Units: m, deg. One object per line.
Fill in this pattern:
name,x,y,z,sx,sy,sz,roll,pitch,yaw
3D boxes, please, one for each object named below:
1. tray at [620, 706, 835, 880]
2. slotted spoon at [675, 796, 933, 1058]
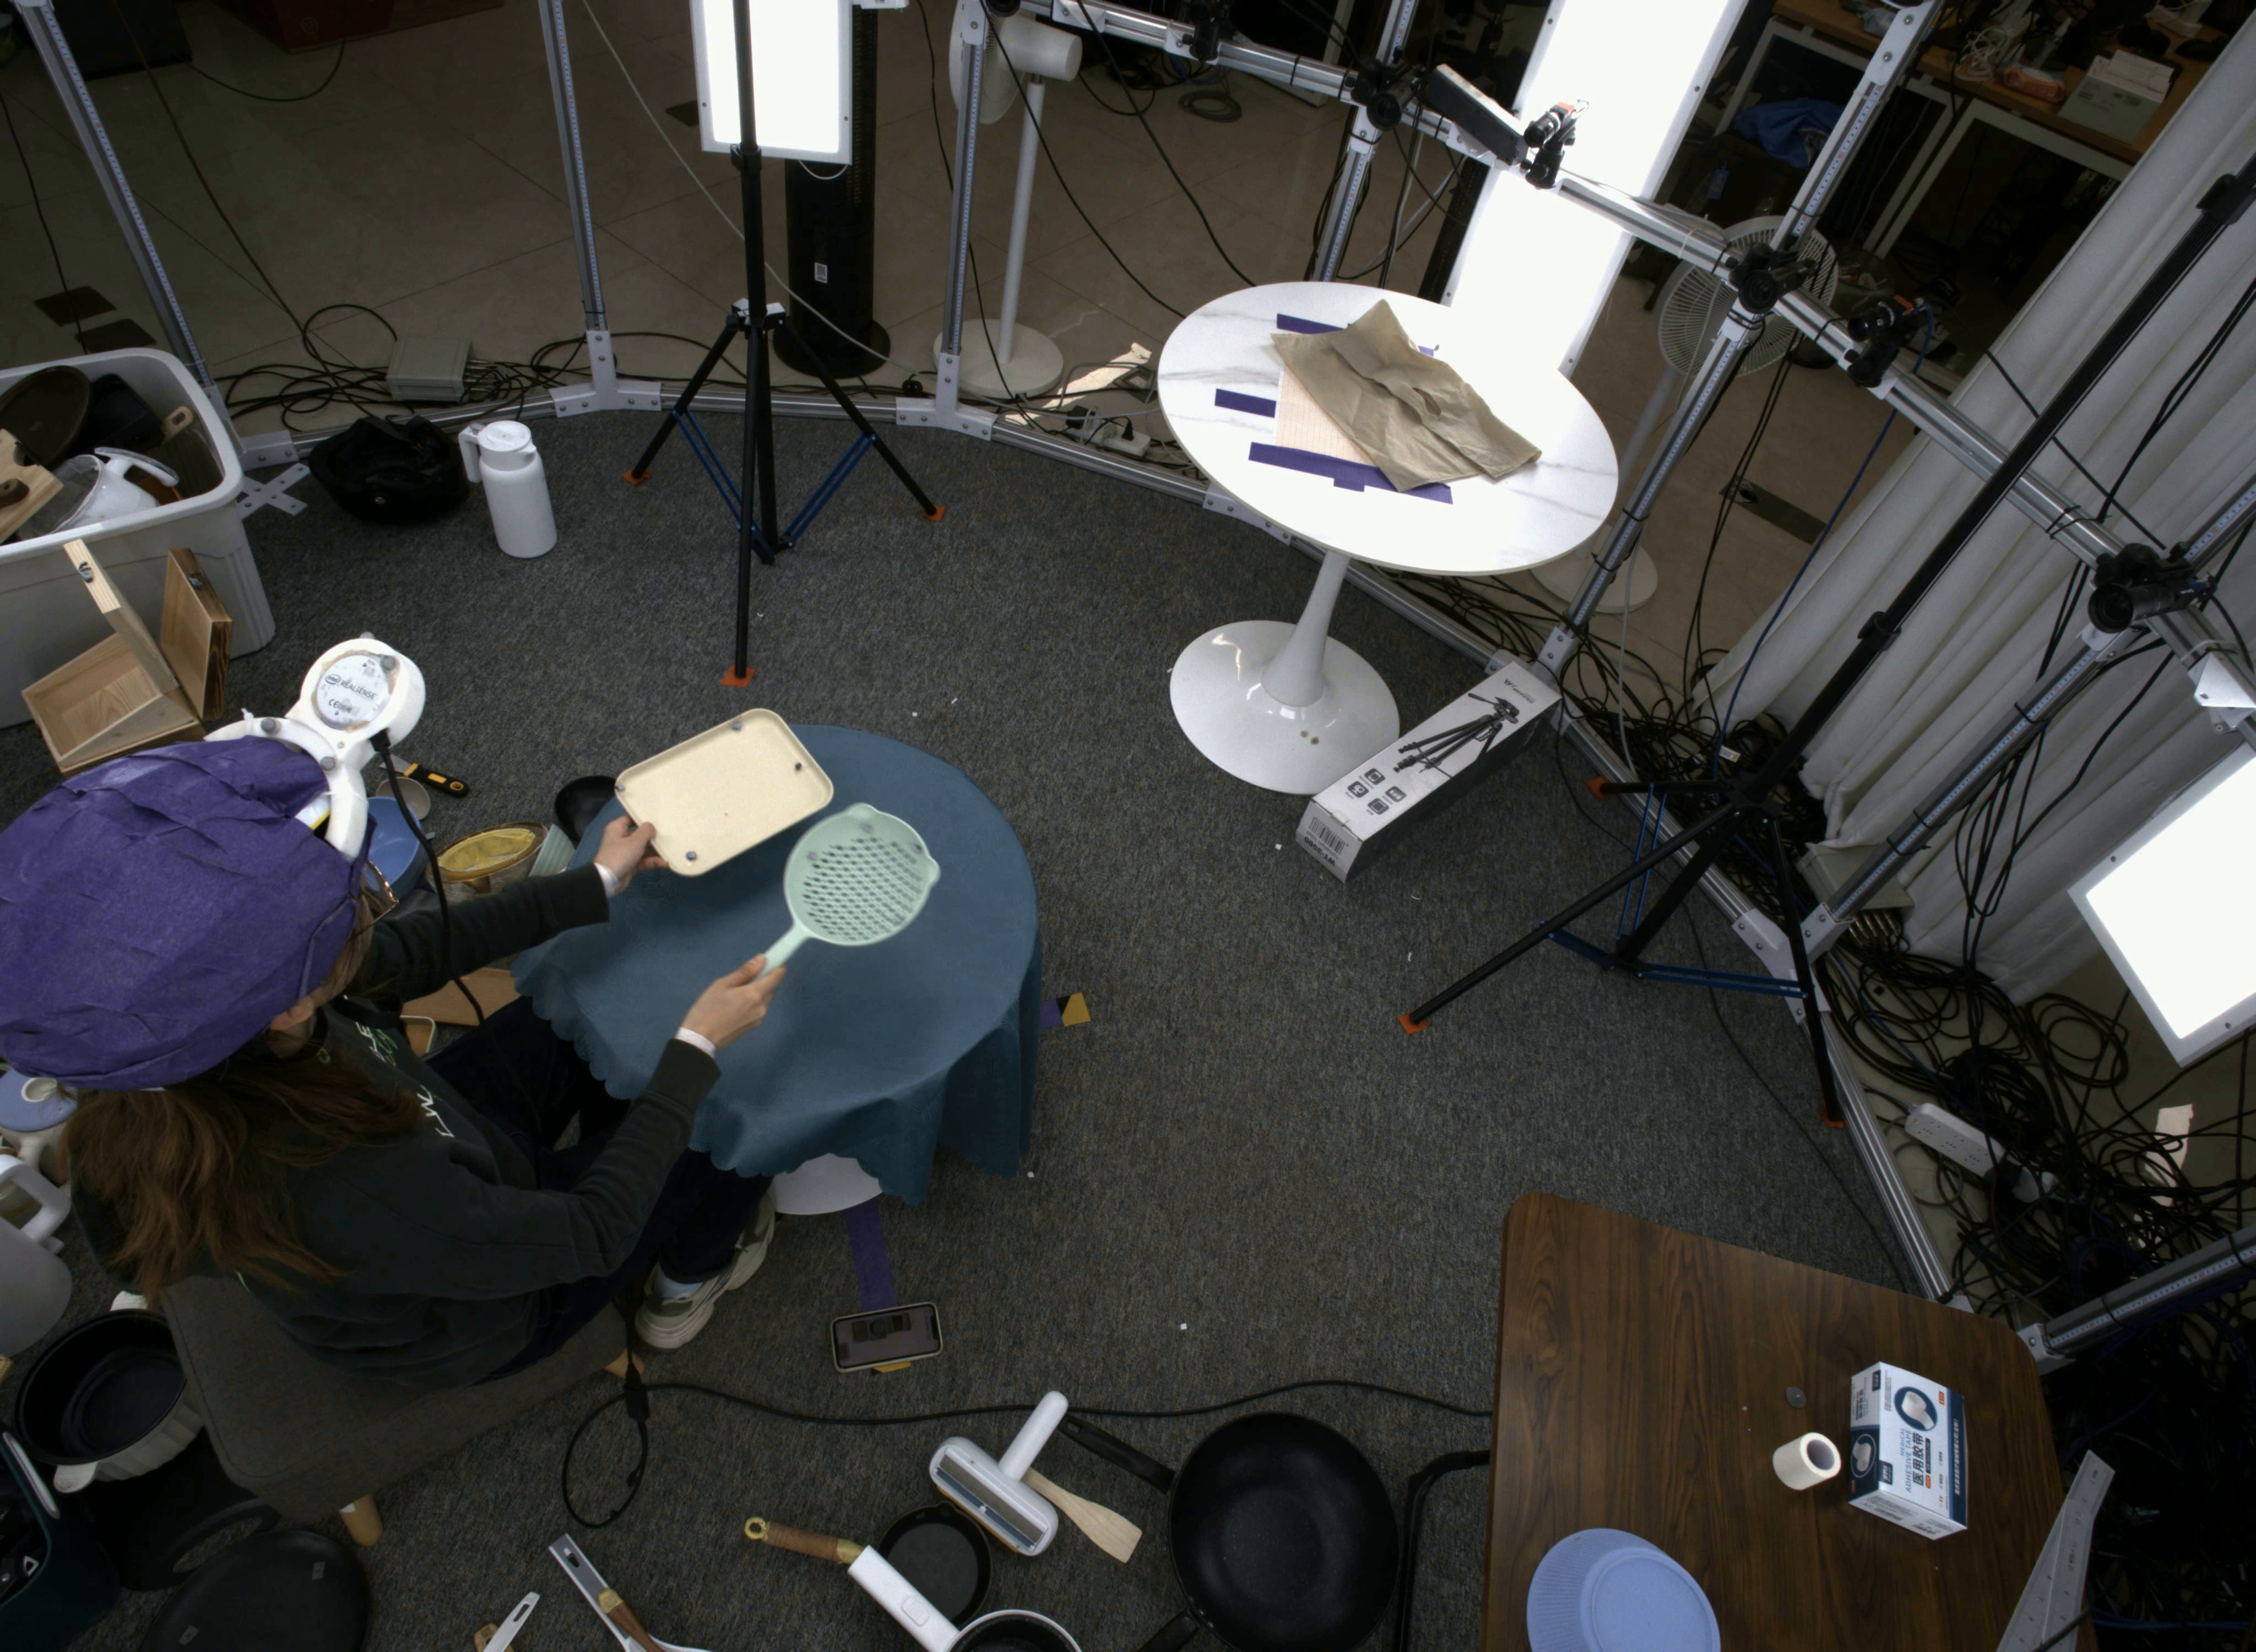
tray,-0.505,-0.044,1.628,0.240,0.017,0.170,-34,80,-33
slotted spoon,-0.381,0.122,1.476,0.166,0.077,0.359,39,63,14
